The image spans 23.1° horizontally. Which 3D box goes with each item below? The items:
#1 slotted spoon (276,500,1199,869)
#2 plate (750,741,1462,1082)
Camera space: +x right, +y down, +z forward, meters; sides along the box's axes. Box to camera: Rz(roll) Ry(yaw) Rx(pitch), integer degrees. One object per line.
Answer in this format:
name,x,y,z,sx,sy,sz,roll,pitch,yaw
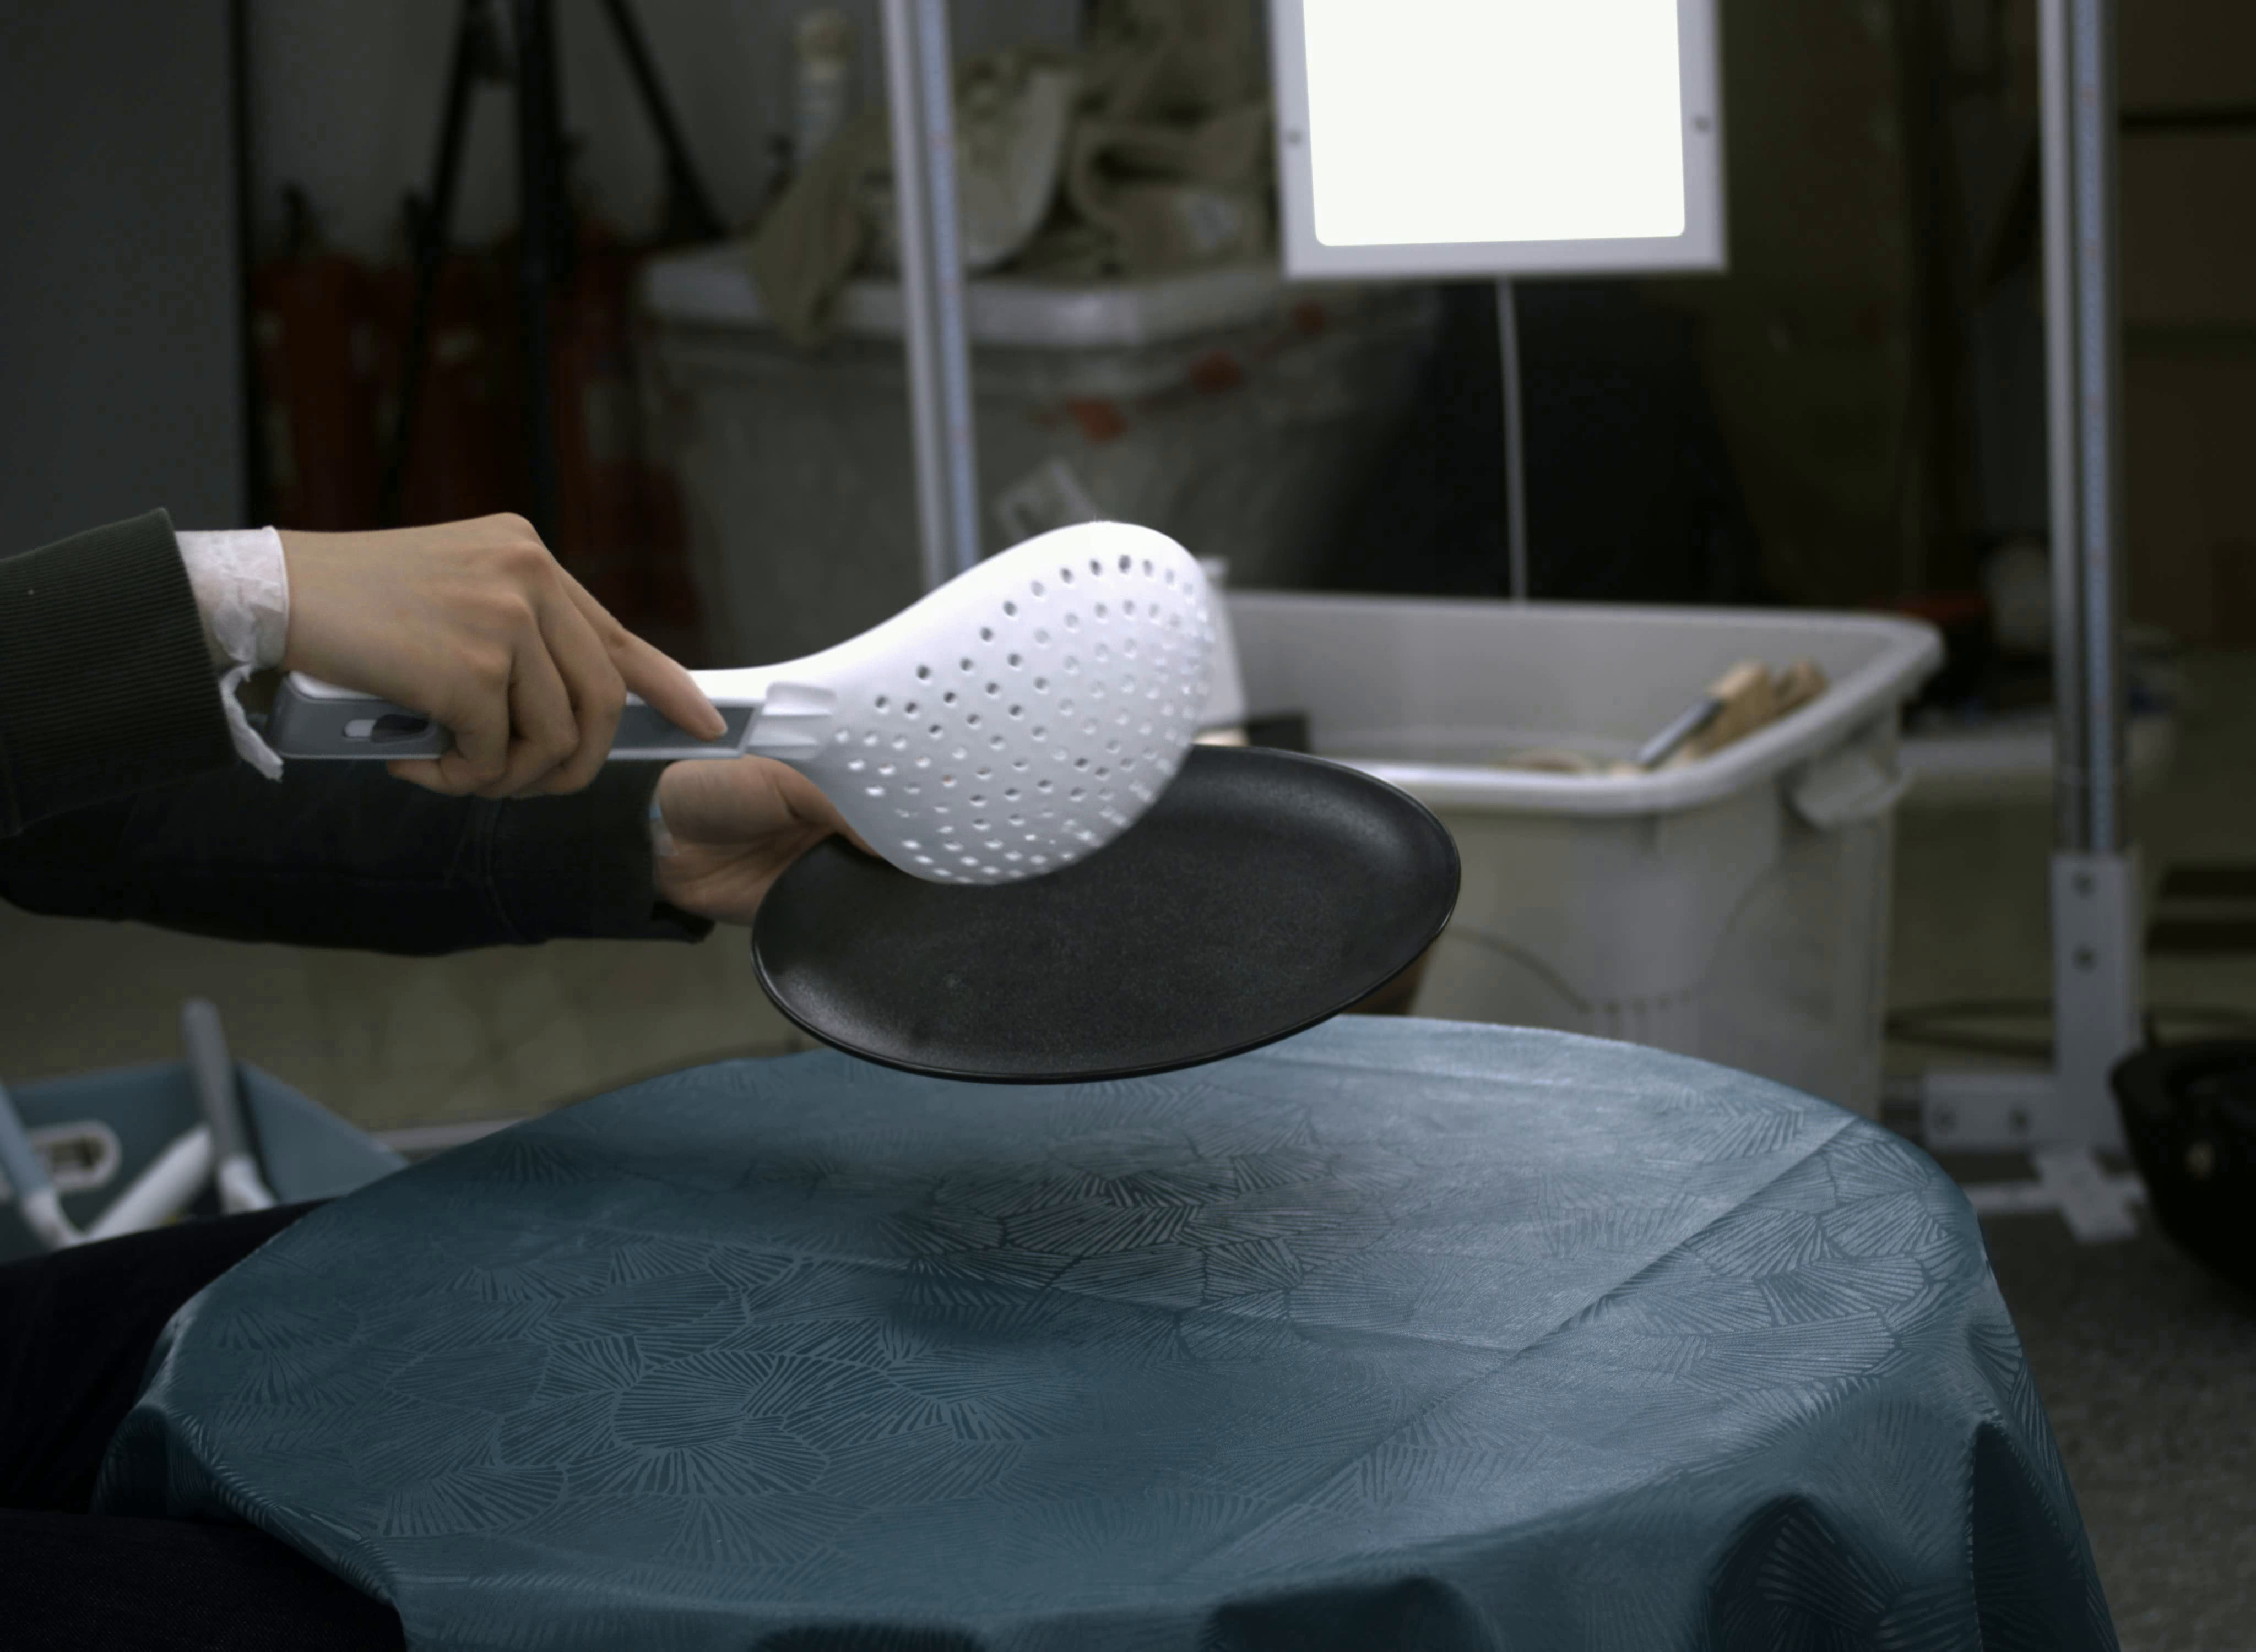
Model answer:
slotted spoon,-0.108,-0.038,1.674,0.341,0.137,0.046,2,32,-37
plate,-0.007,0.033,1.866,0.244,0.023,0.244,-7,26,2
